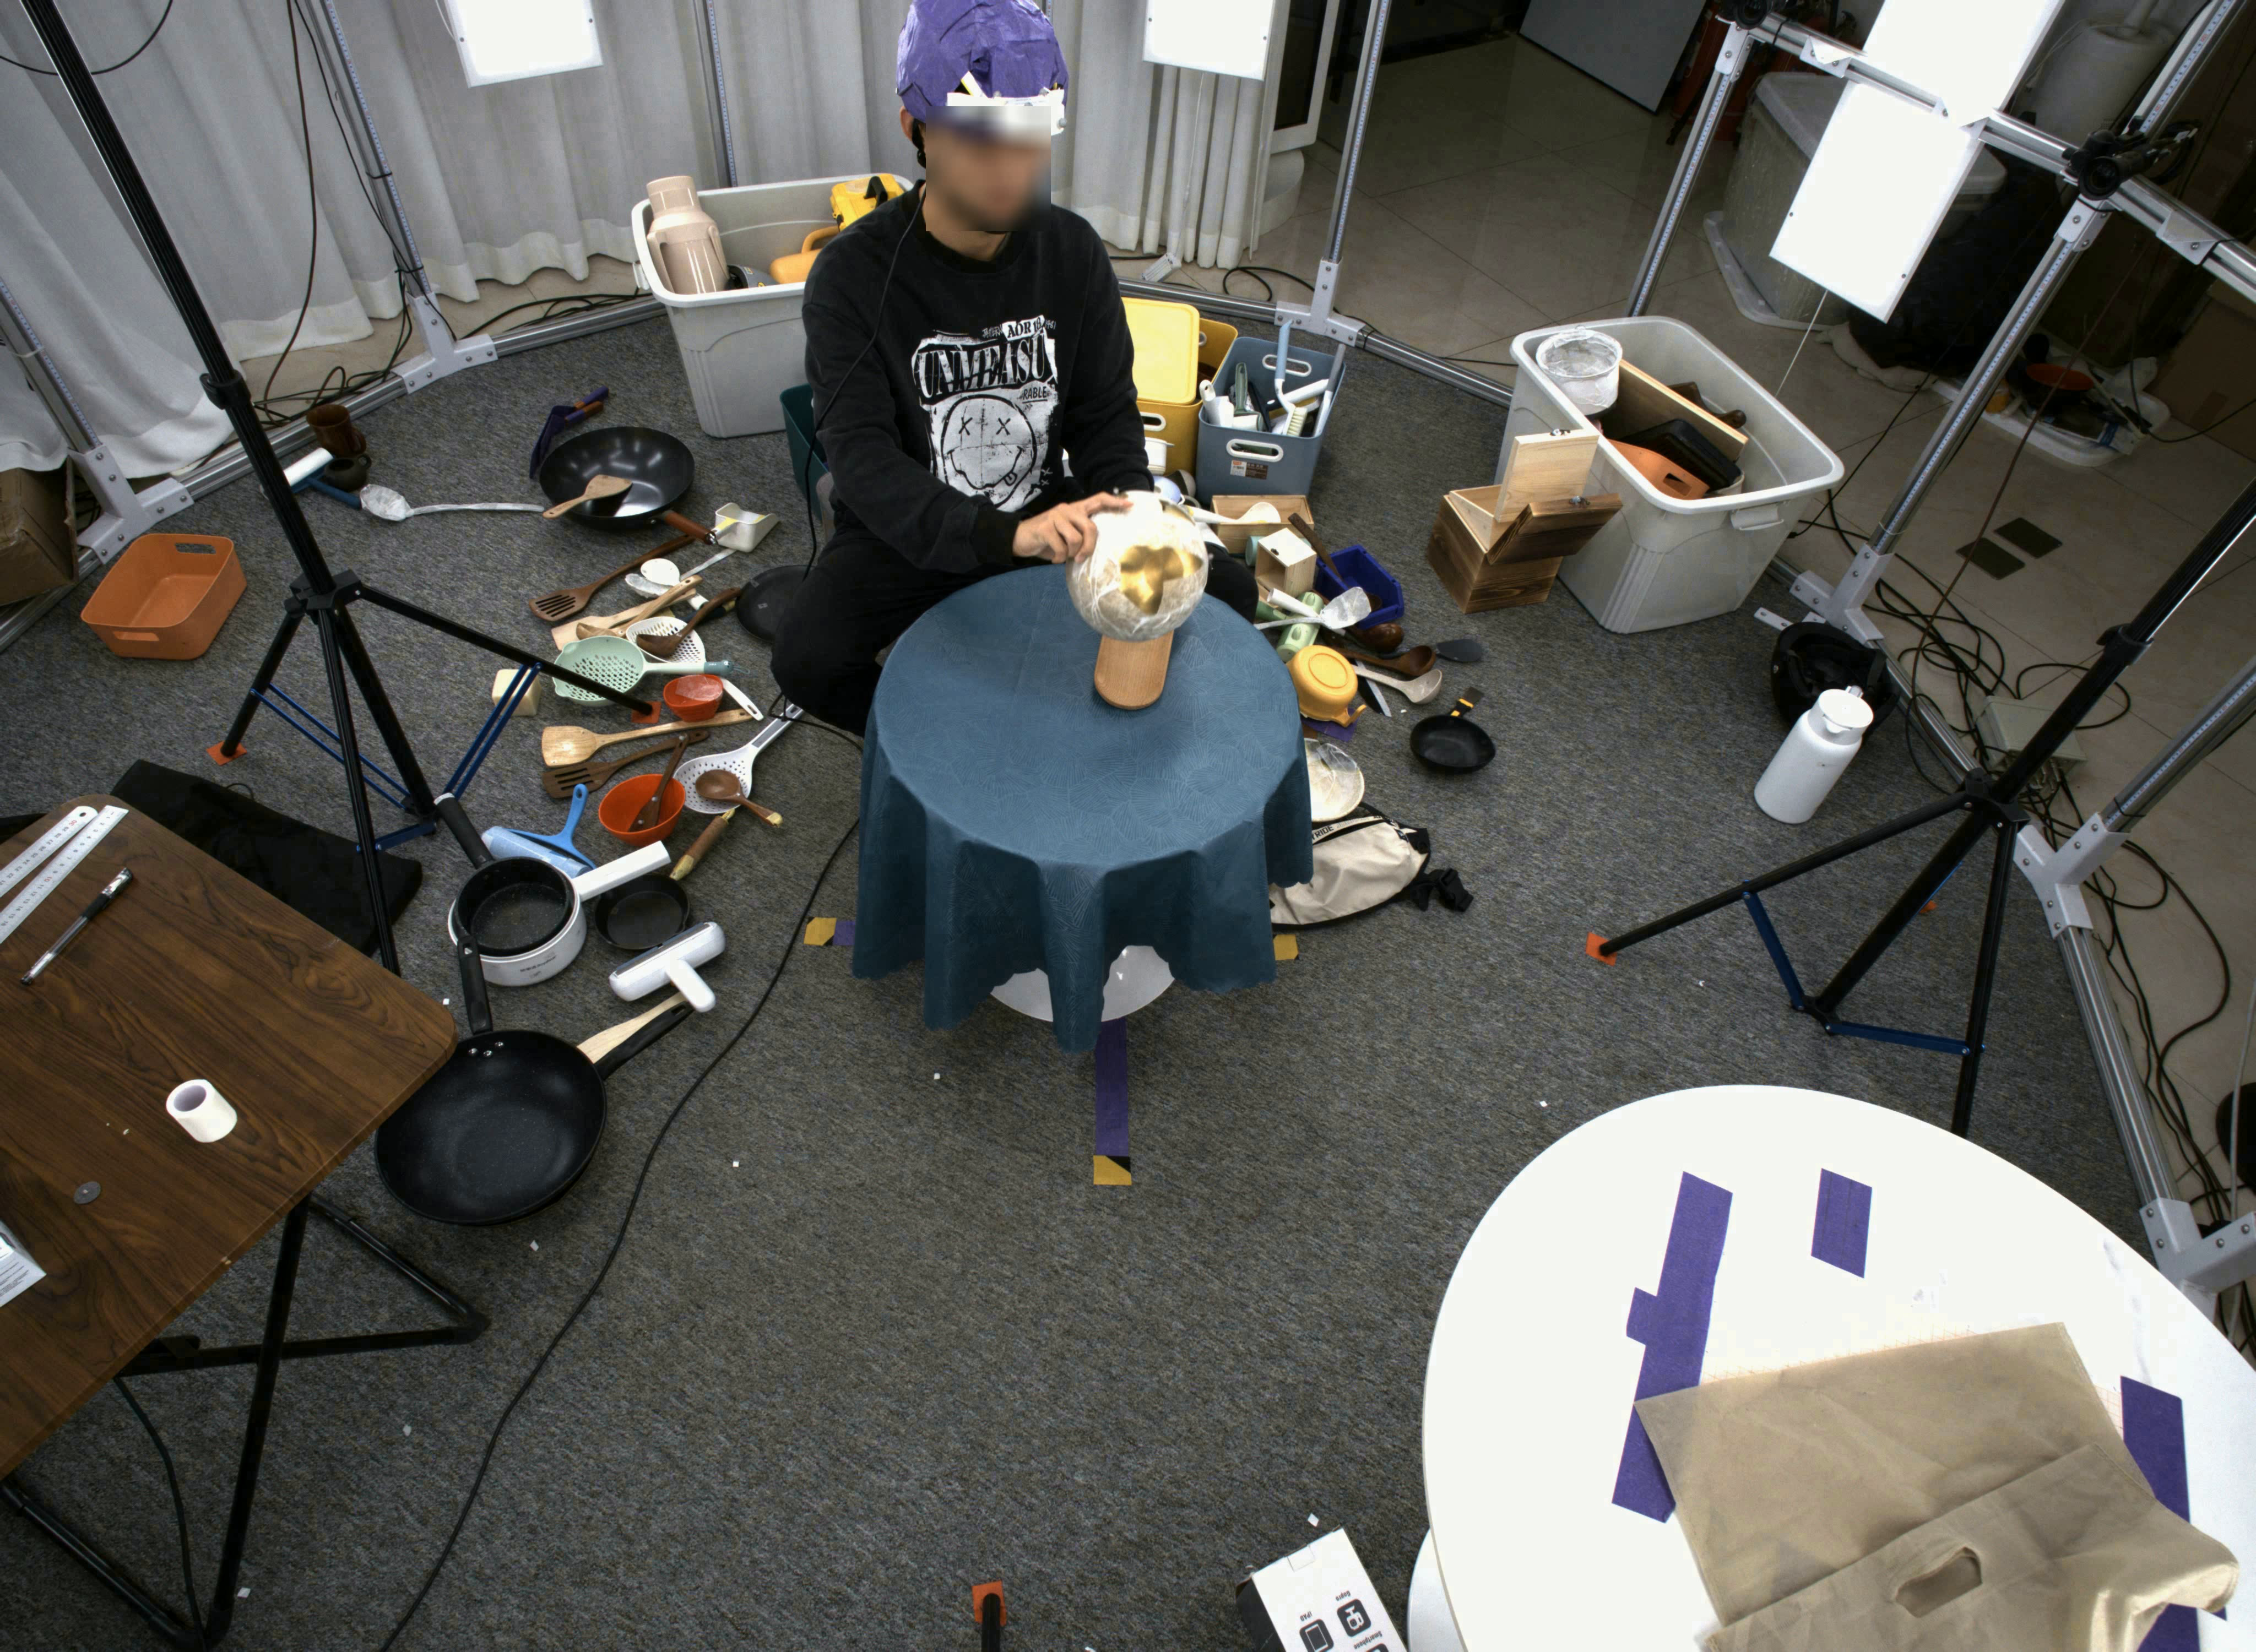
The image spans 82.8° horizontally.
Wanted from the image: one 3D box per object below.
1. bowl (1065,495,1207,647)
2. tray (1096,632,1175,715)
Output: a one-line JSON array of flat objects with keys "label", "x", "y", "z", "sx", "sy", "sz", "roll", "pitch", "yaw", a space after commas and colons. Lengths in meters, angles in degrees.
[{"label": "bowl", "x": 0.025, "y": -0.333, "z": 1.716, "sx": 0.215, "sy": 0.211, "sz": 0.096, "roll": -20, "pitch": 20, "yaw": -21}, {"label": "tray", "x": 0.014, "y": -0.260, "z": 1.879, "sx": 0.101, "sy": 0.020, "sz": 0.236, "roll": 9, "pitch": 60, "yaw": 1}]
